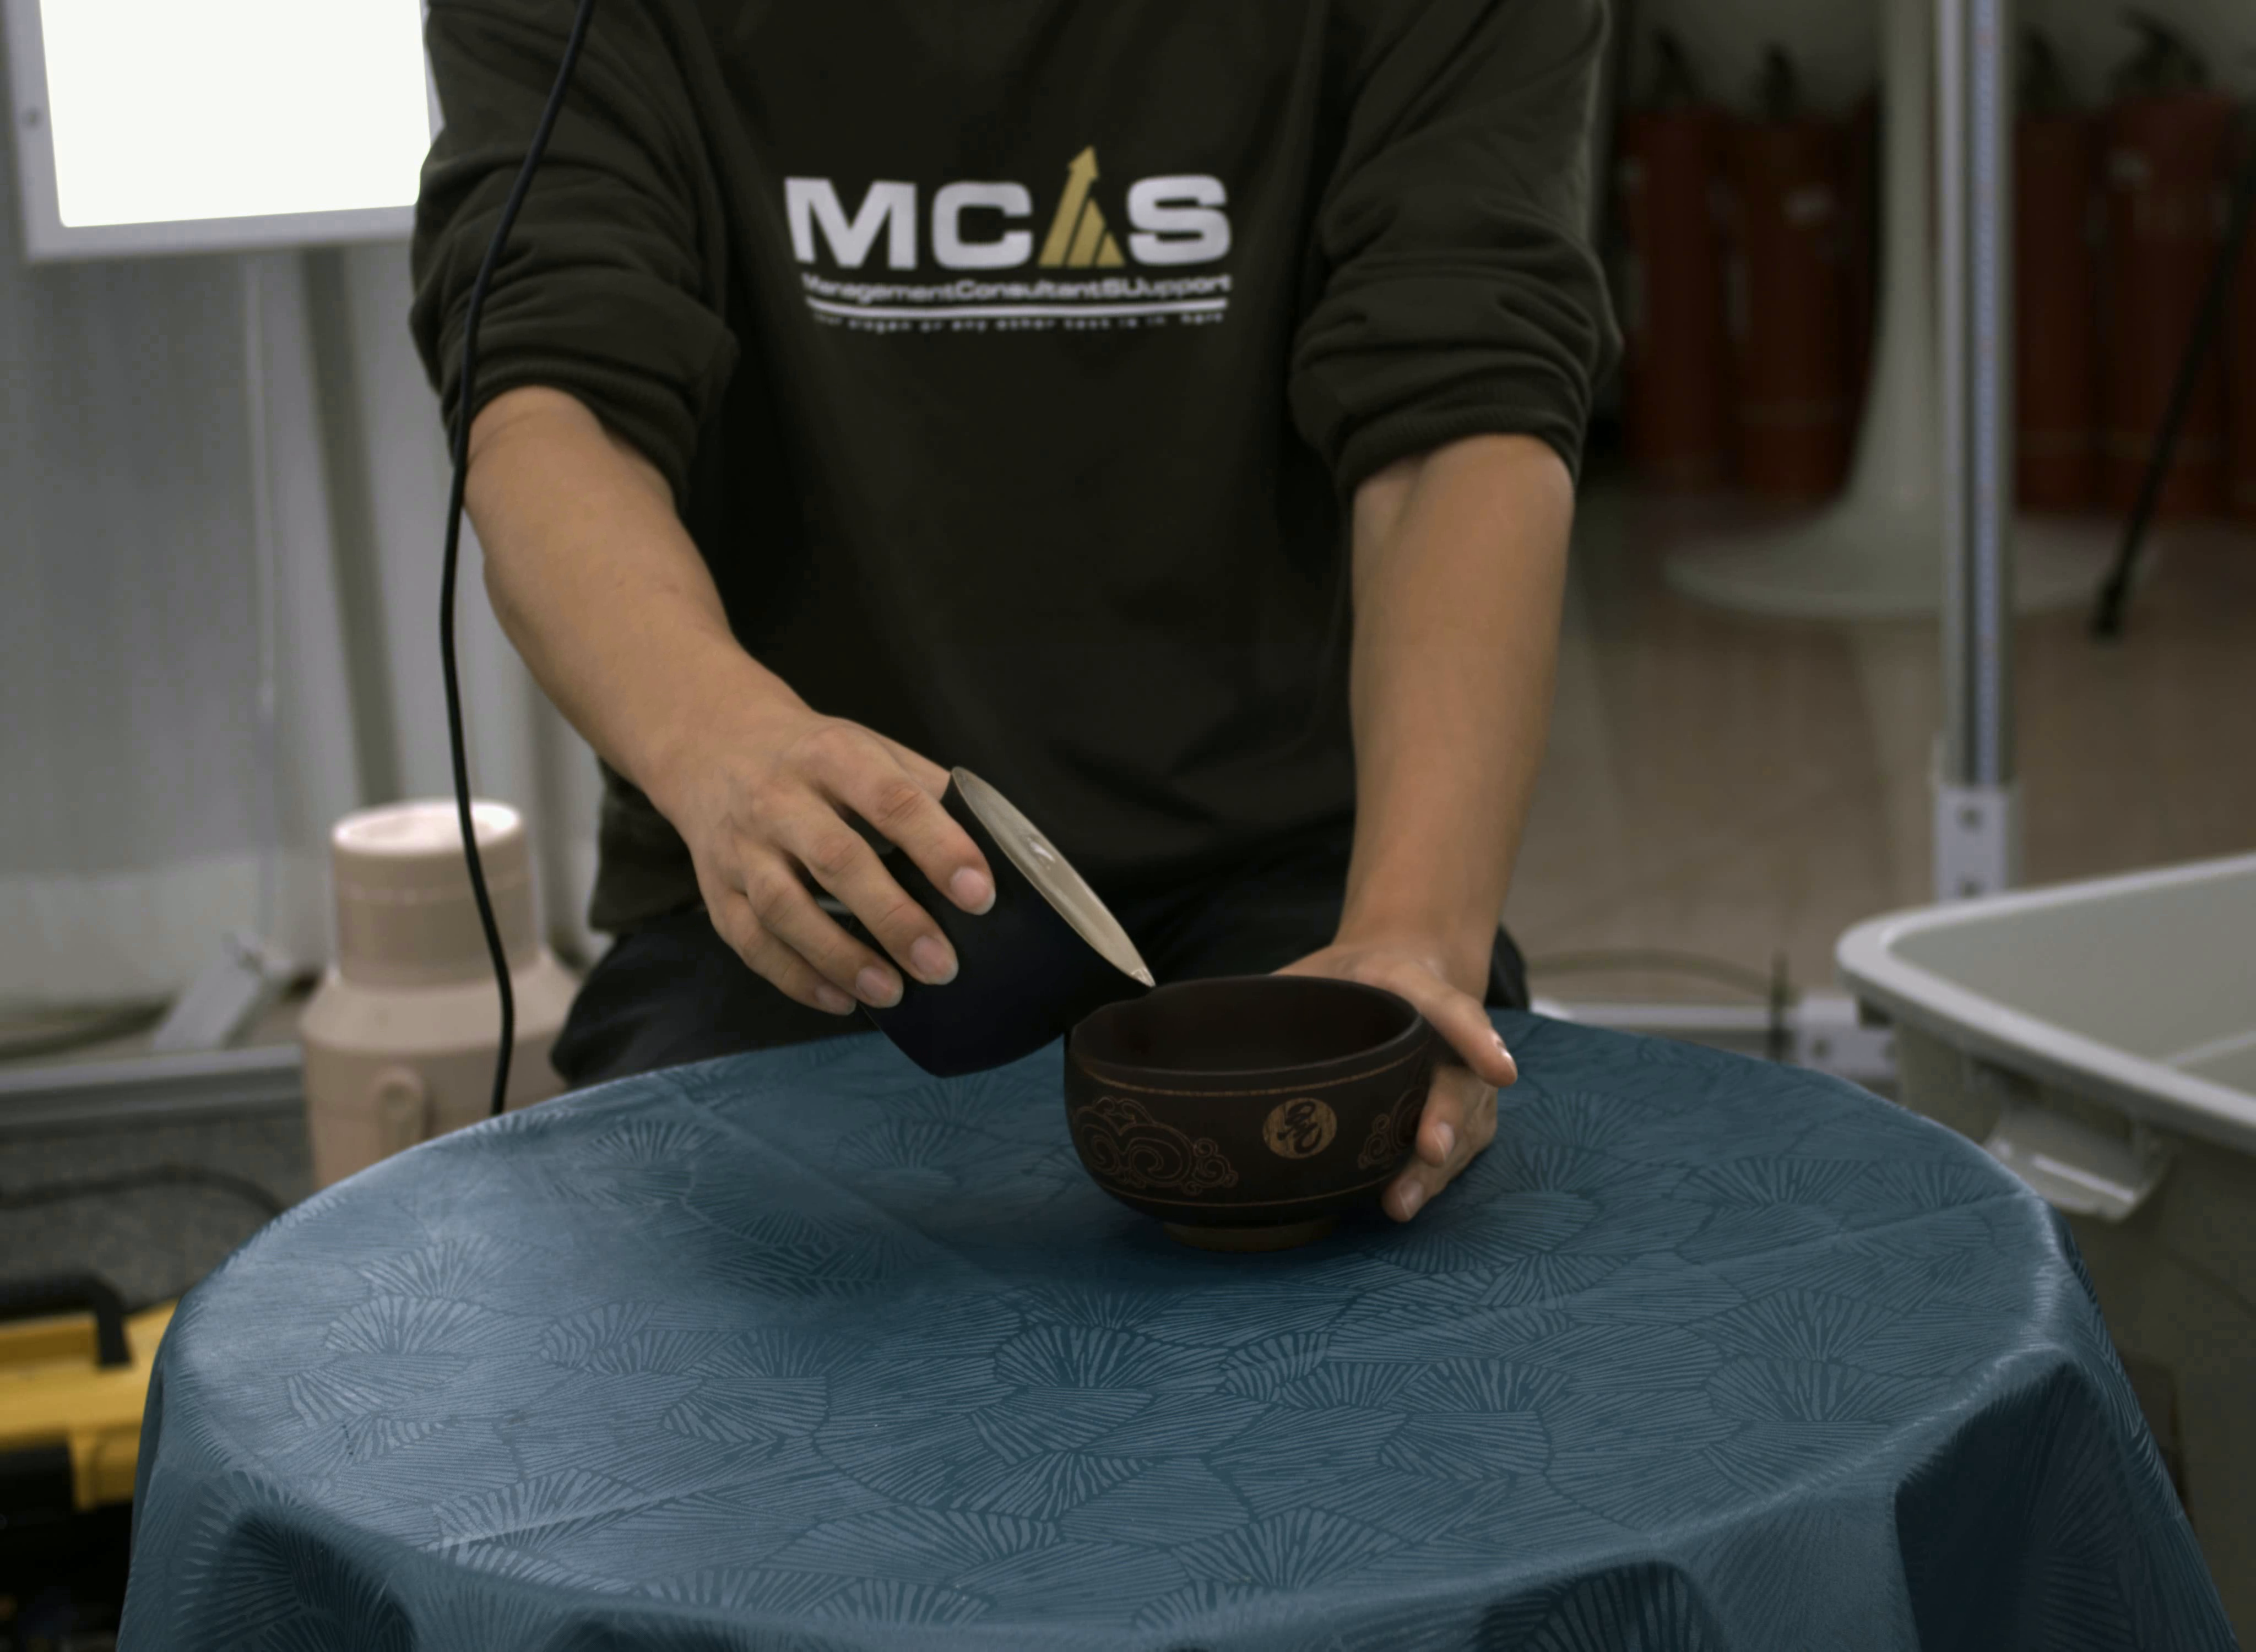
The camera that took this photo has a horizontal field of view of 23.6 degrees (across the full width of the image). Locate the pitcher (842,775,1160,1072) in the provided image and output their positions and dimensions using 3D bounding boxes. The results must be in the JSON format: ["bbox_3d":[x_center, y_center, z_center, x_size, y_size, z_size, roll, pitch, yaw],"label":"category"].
[{"bbox_3d":[-0.046,0.039,1.718,0.071,0.096,0.083,-42,-4,5],"label":"pitcher"}]

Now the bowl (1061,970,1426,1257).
[{"bbox_3d":[0.038,0.096,1.724,0.116,0.070,0.118,-5,16,1],"label":"bowl"}]
